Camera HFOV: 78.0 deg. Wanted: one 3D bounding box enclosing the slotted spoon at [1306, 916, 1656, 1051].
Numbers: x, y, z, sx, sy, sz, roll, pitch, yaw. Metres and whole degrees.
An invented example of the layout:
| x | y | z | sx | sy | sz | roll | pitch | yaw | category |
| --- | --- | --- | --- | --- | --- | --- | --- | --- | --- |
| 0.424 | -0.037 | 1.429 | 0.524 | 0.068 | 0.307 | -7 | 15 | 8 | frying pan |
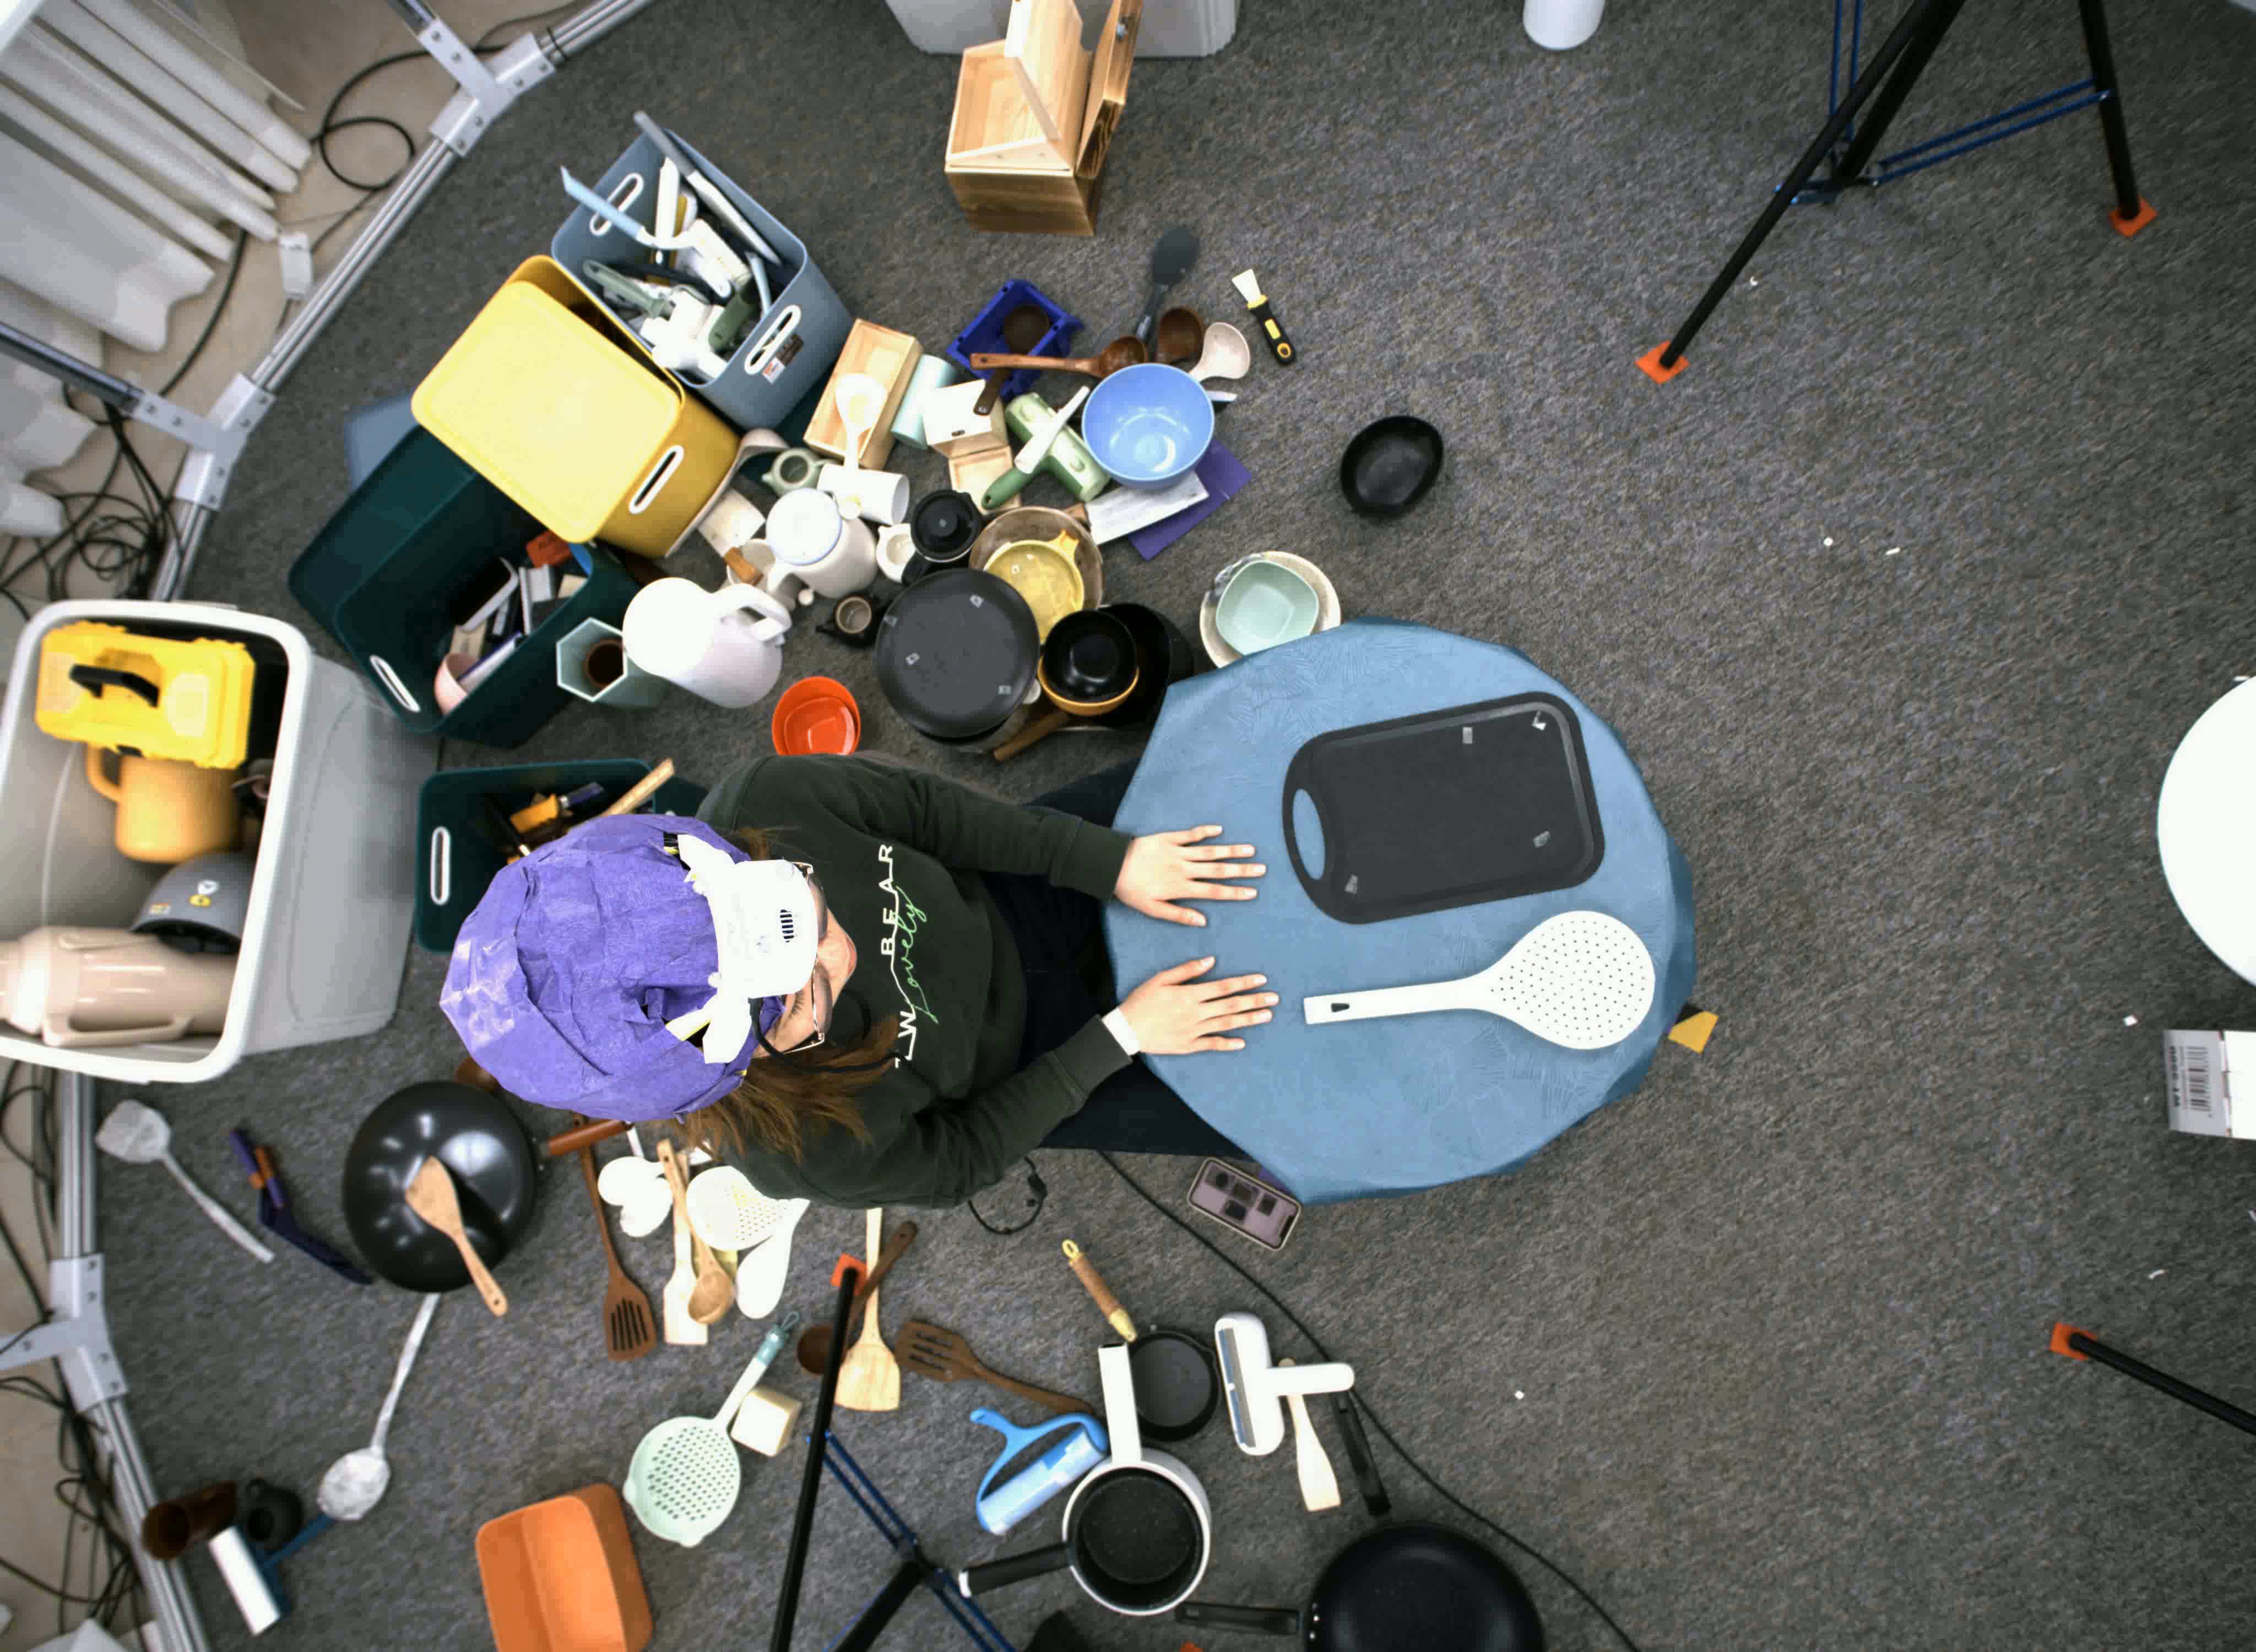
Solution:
| x | y | z | sx | sy | sz | roll | pitch | yaw | category |
| --- | --- | --- | --- | --- | --- | --- | --- | --- | --- |
| 0.358 | 0.172 | 1.419 | 0.351 | 0.046 | 0.135 | -7 | 82 | 11 | slotted spoon |

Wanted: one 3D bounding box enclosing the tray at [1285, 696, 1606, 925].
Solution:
| x | y | z | sx | sy | sz | roll | pitch | yaw | category |
| --- | --- | --- | --- | --- | --- | --- | --- | --- | --- |
| 0.330 | -0.016 | 1.456 | 0.327 | 0.010 | 0.210 | -11 | 84 | 10 | tray |
